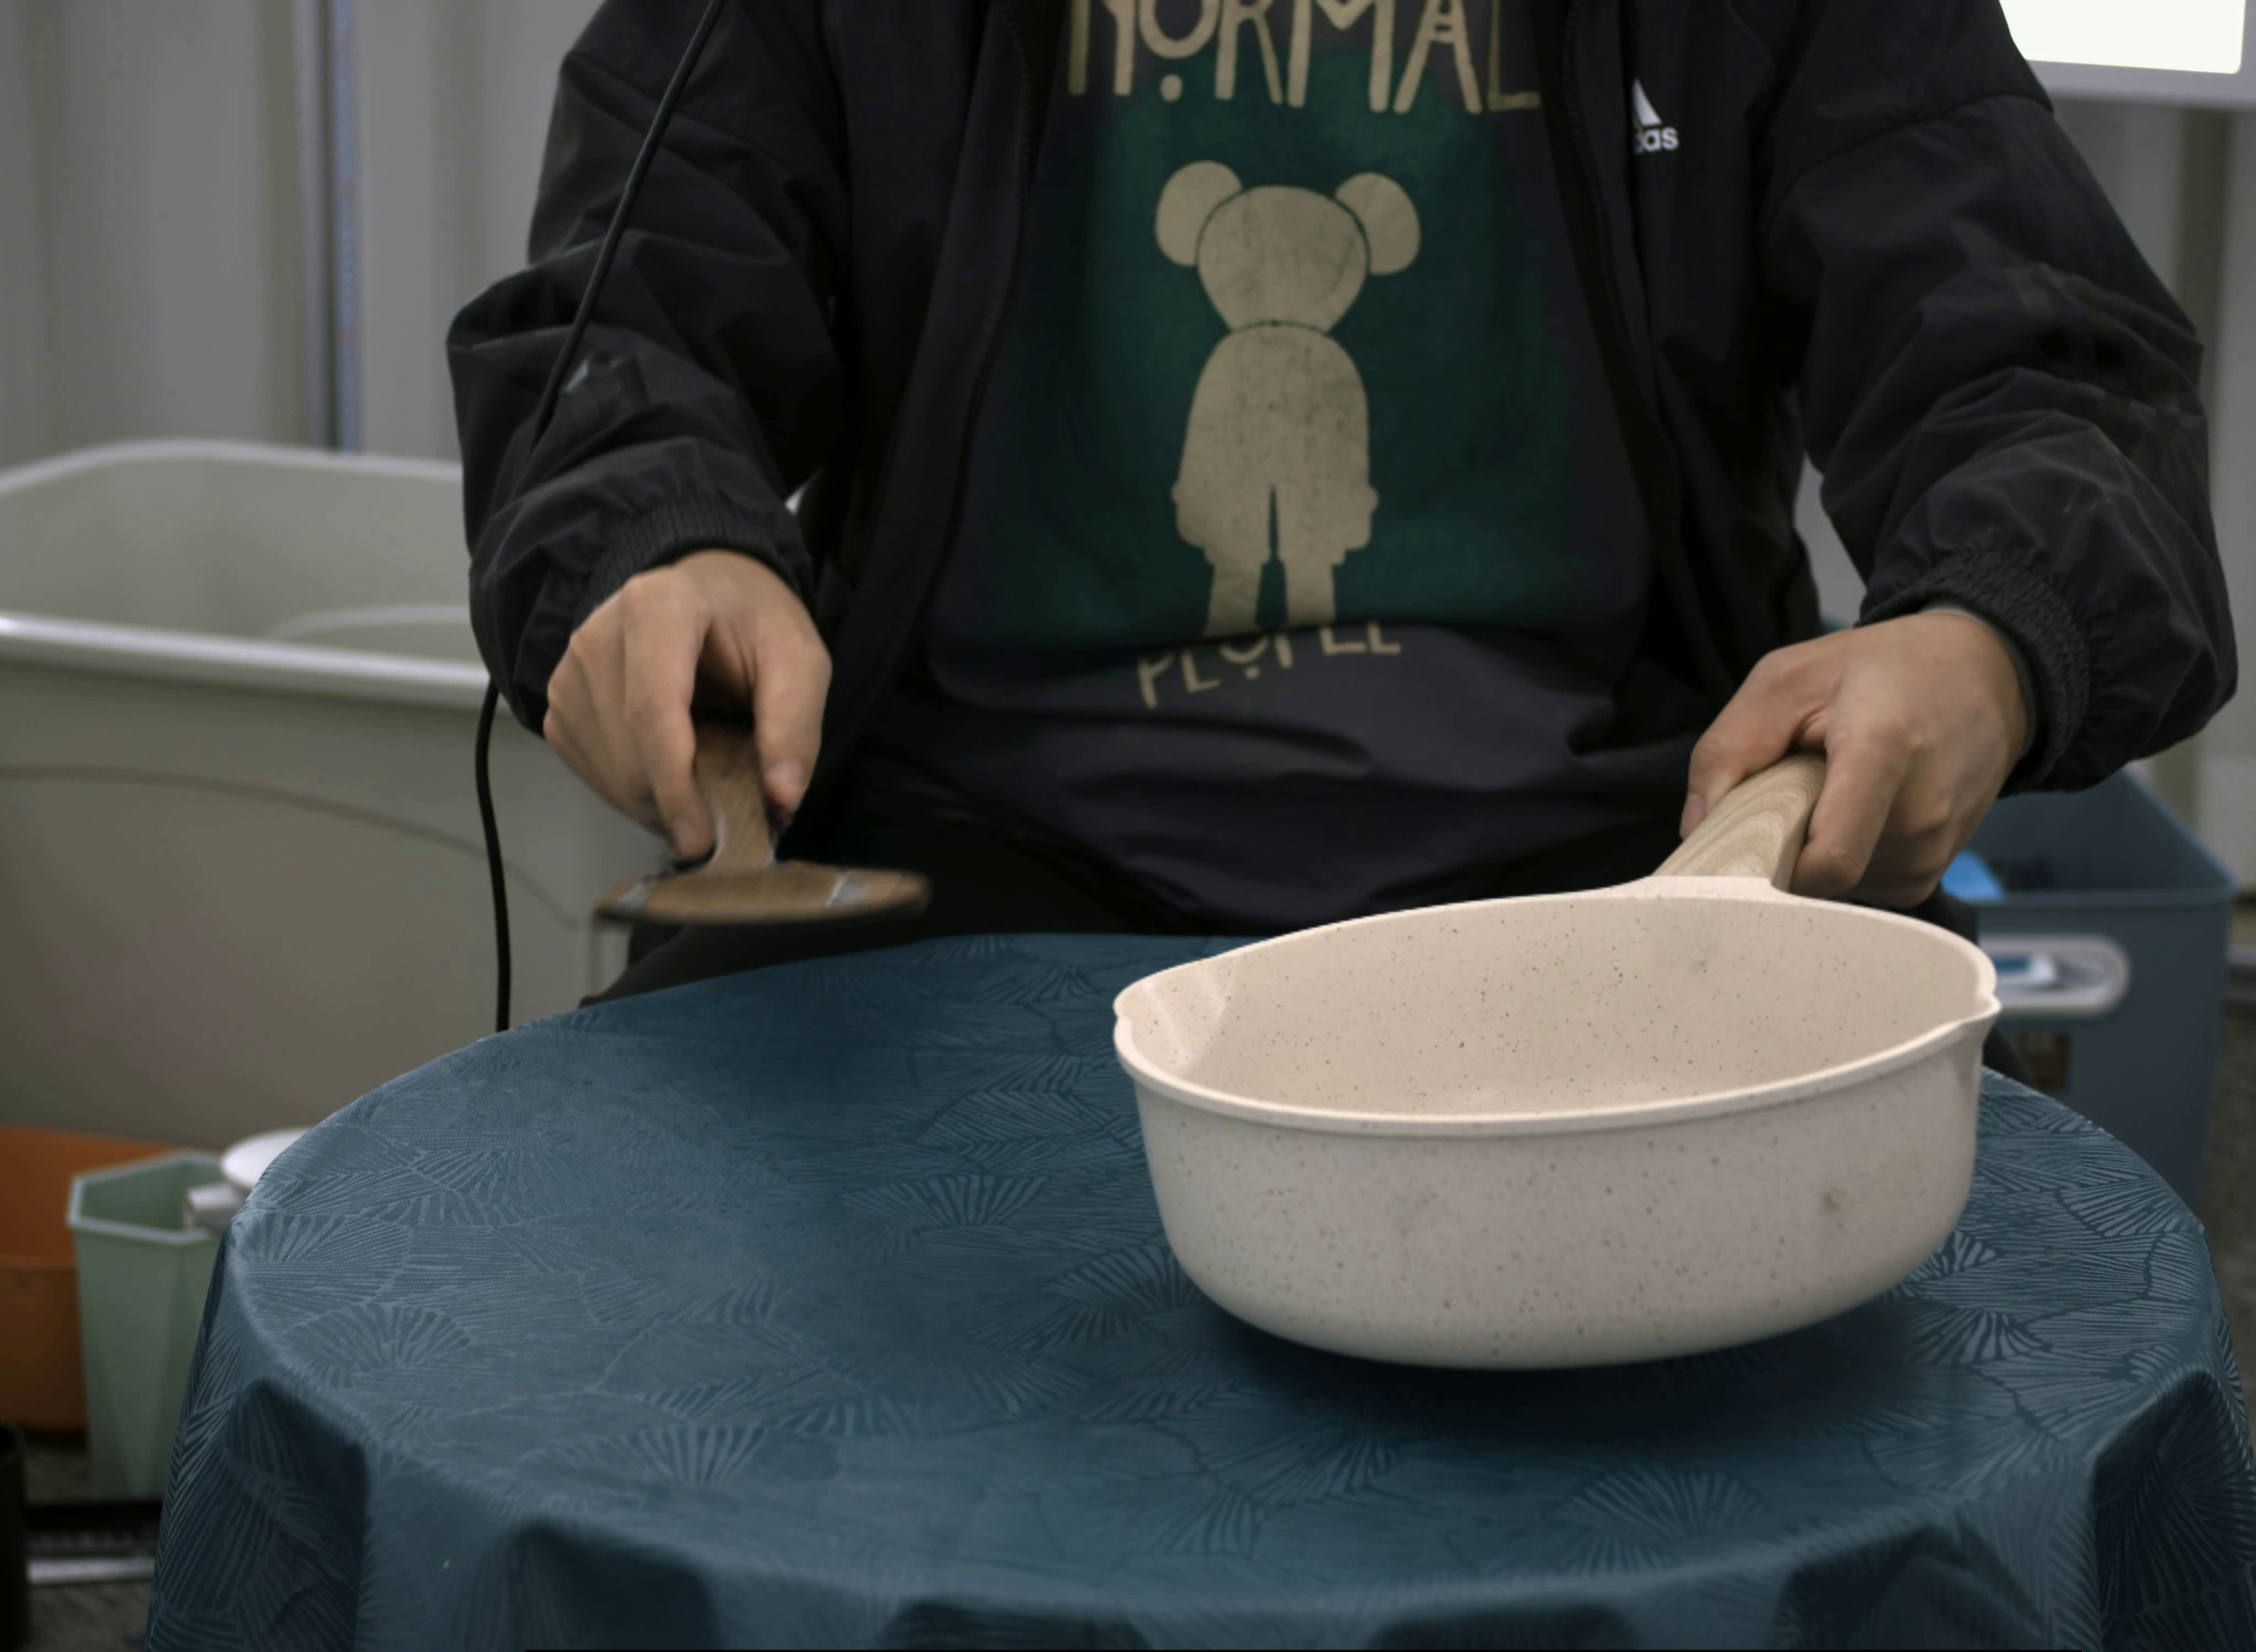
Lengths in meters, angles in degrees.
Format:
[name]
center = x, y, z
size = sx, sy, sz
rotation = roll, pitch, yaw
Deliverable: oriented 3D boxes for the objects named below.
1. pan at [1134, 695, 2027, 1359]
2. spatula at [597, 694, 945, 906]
[pan]
center = 0.166, 0.056, 1.583
size = 0.261, 0.103, 0.435
rotation = -1, 13, 24
[spatula]
center = -0.118, -0.011, 1.605
size = 0.096, 0.016, 0.383
rotation = -3, 10, -7
